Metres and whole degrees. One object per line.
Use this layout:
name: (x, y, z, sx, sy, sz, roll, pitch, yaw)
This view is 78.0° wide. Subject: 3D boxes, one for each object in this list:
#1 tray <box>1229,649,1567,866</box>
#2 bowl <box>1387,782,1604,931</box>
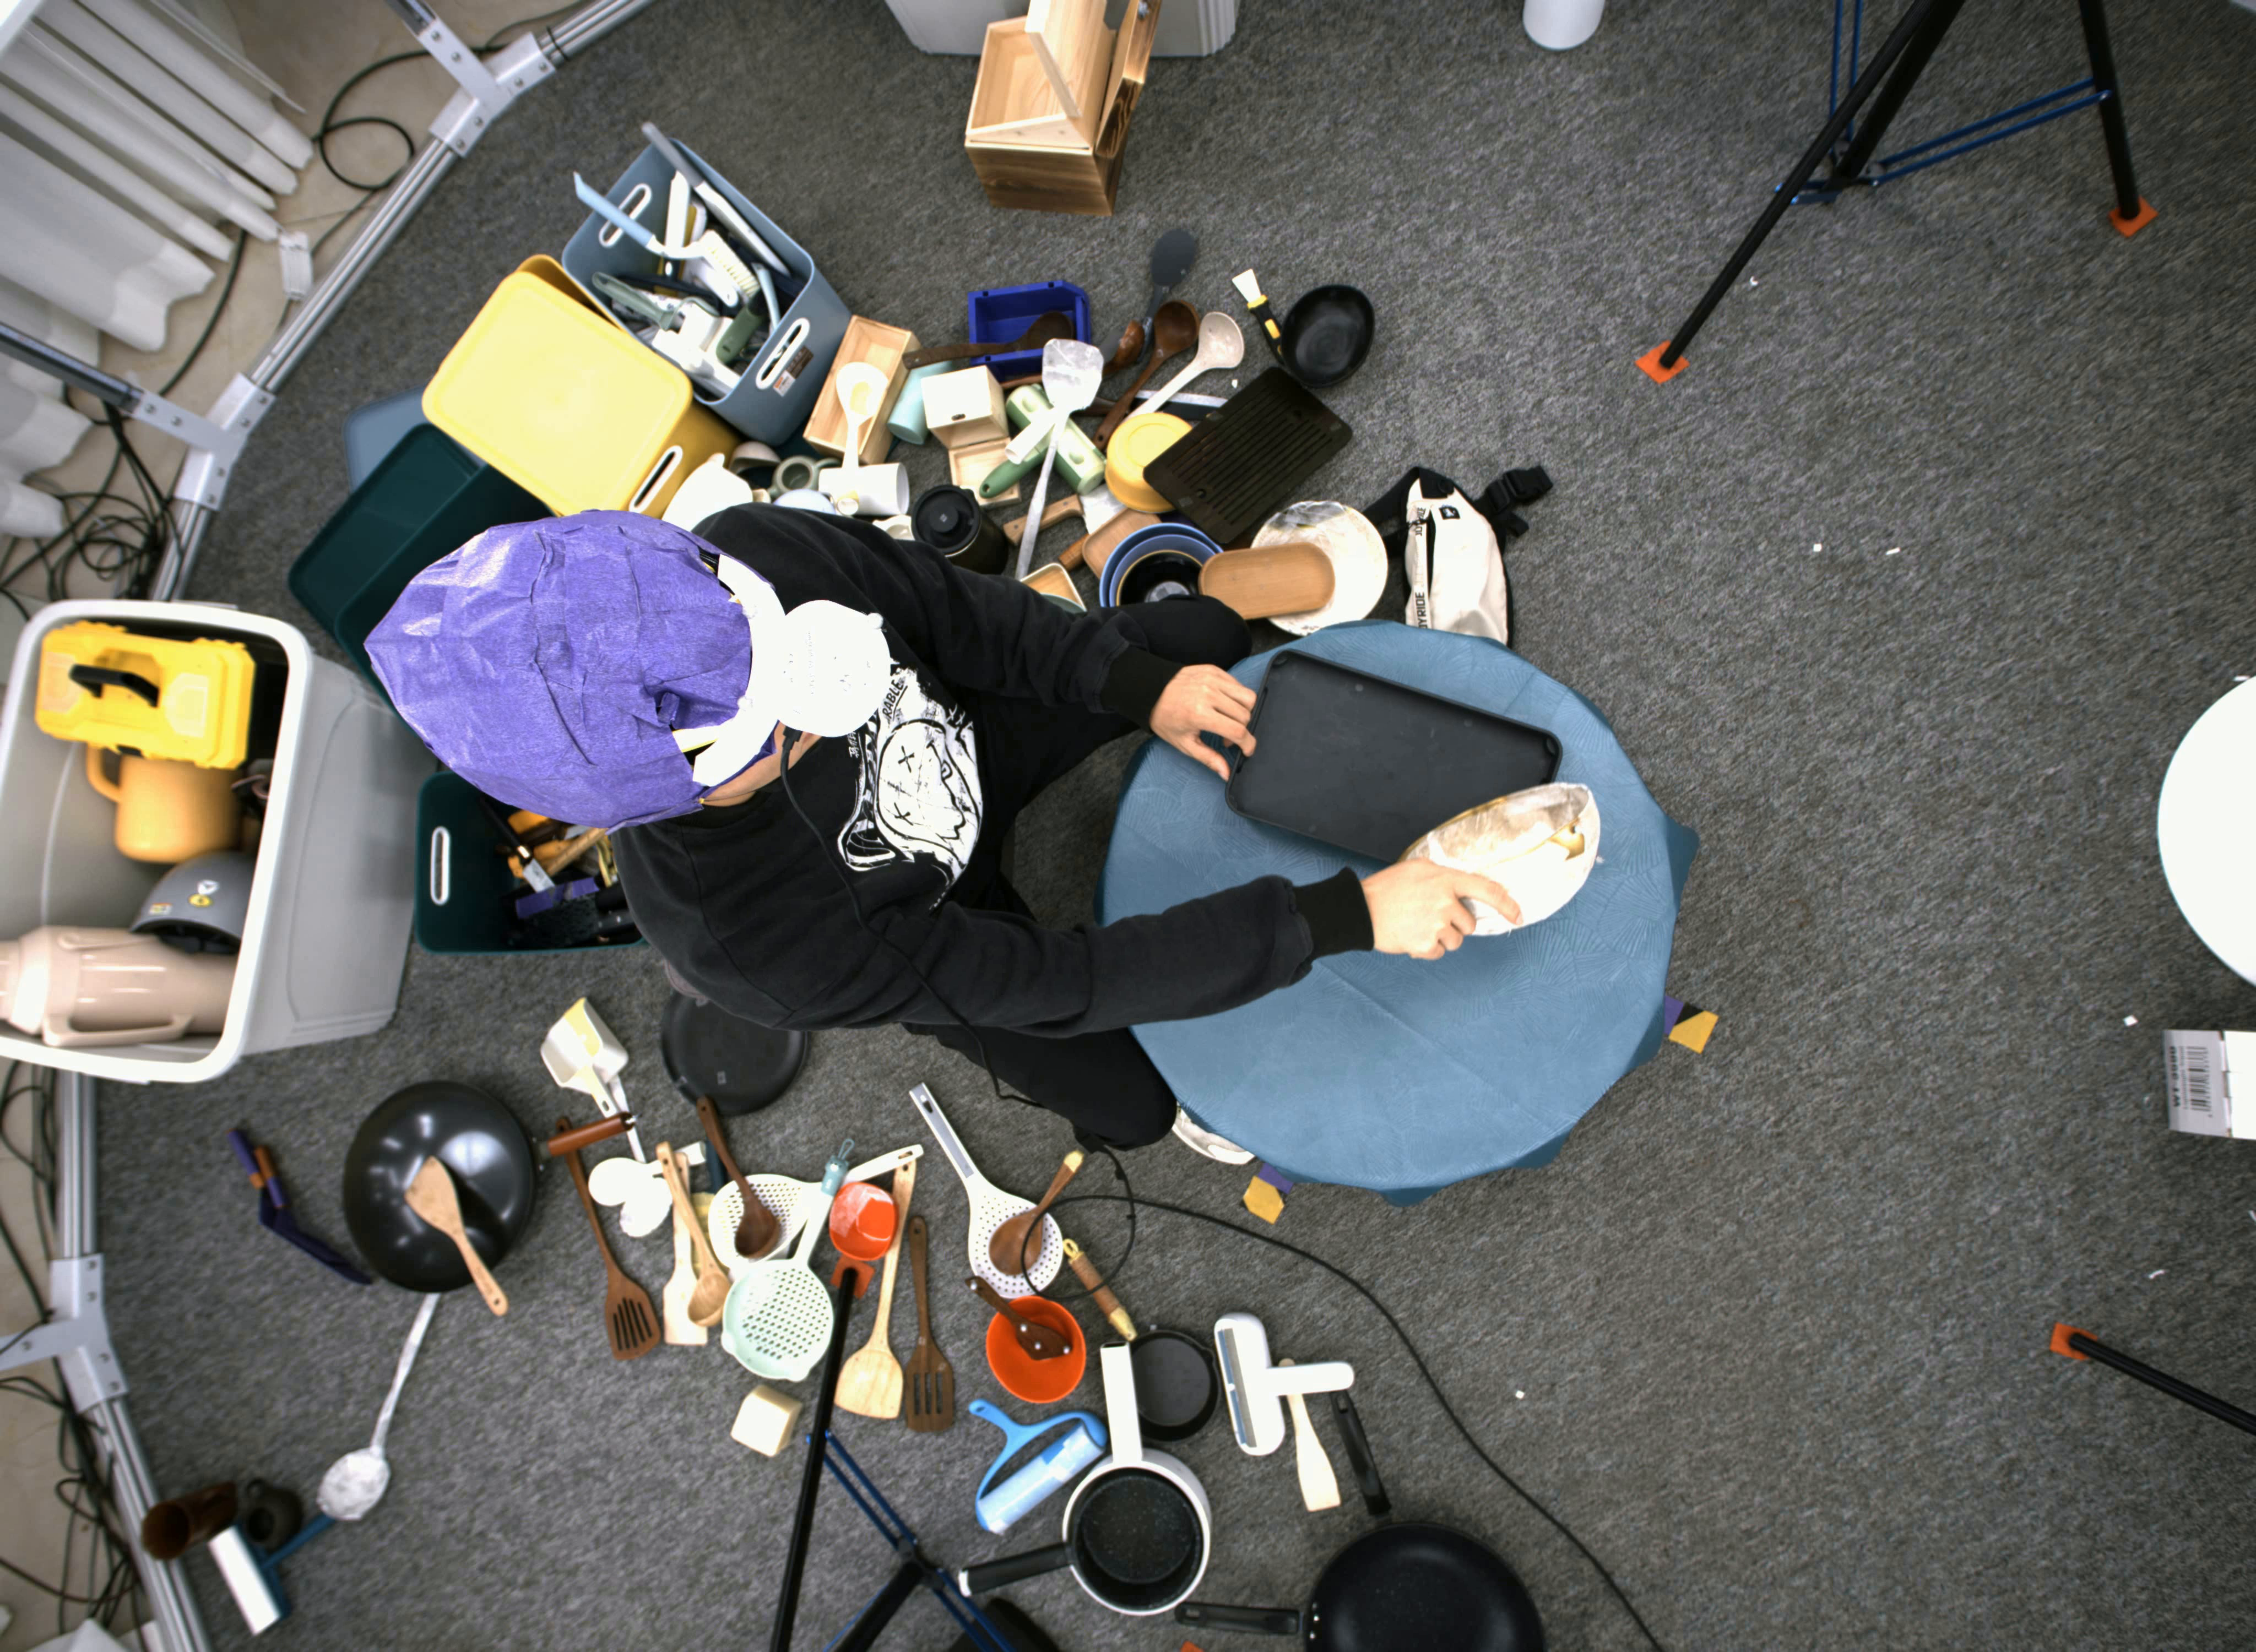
tray: (0.279, -0.053, 1.436, 0.318, 0.037, 0.184, 20, 91, 5)
bowl: (0.363, 0.040, 1.322, 0.216, 0.212, 0.095, -24, 102, 7)
